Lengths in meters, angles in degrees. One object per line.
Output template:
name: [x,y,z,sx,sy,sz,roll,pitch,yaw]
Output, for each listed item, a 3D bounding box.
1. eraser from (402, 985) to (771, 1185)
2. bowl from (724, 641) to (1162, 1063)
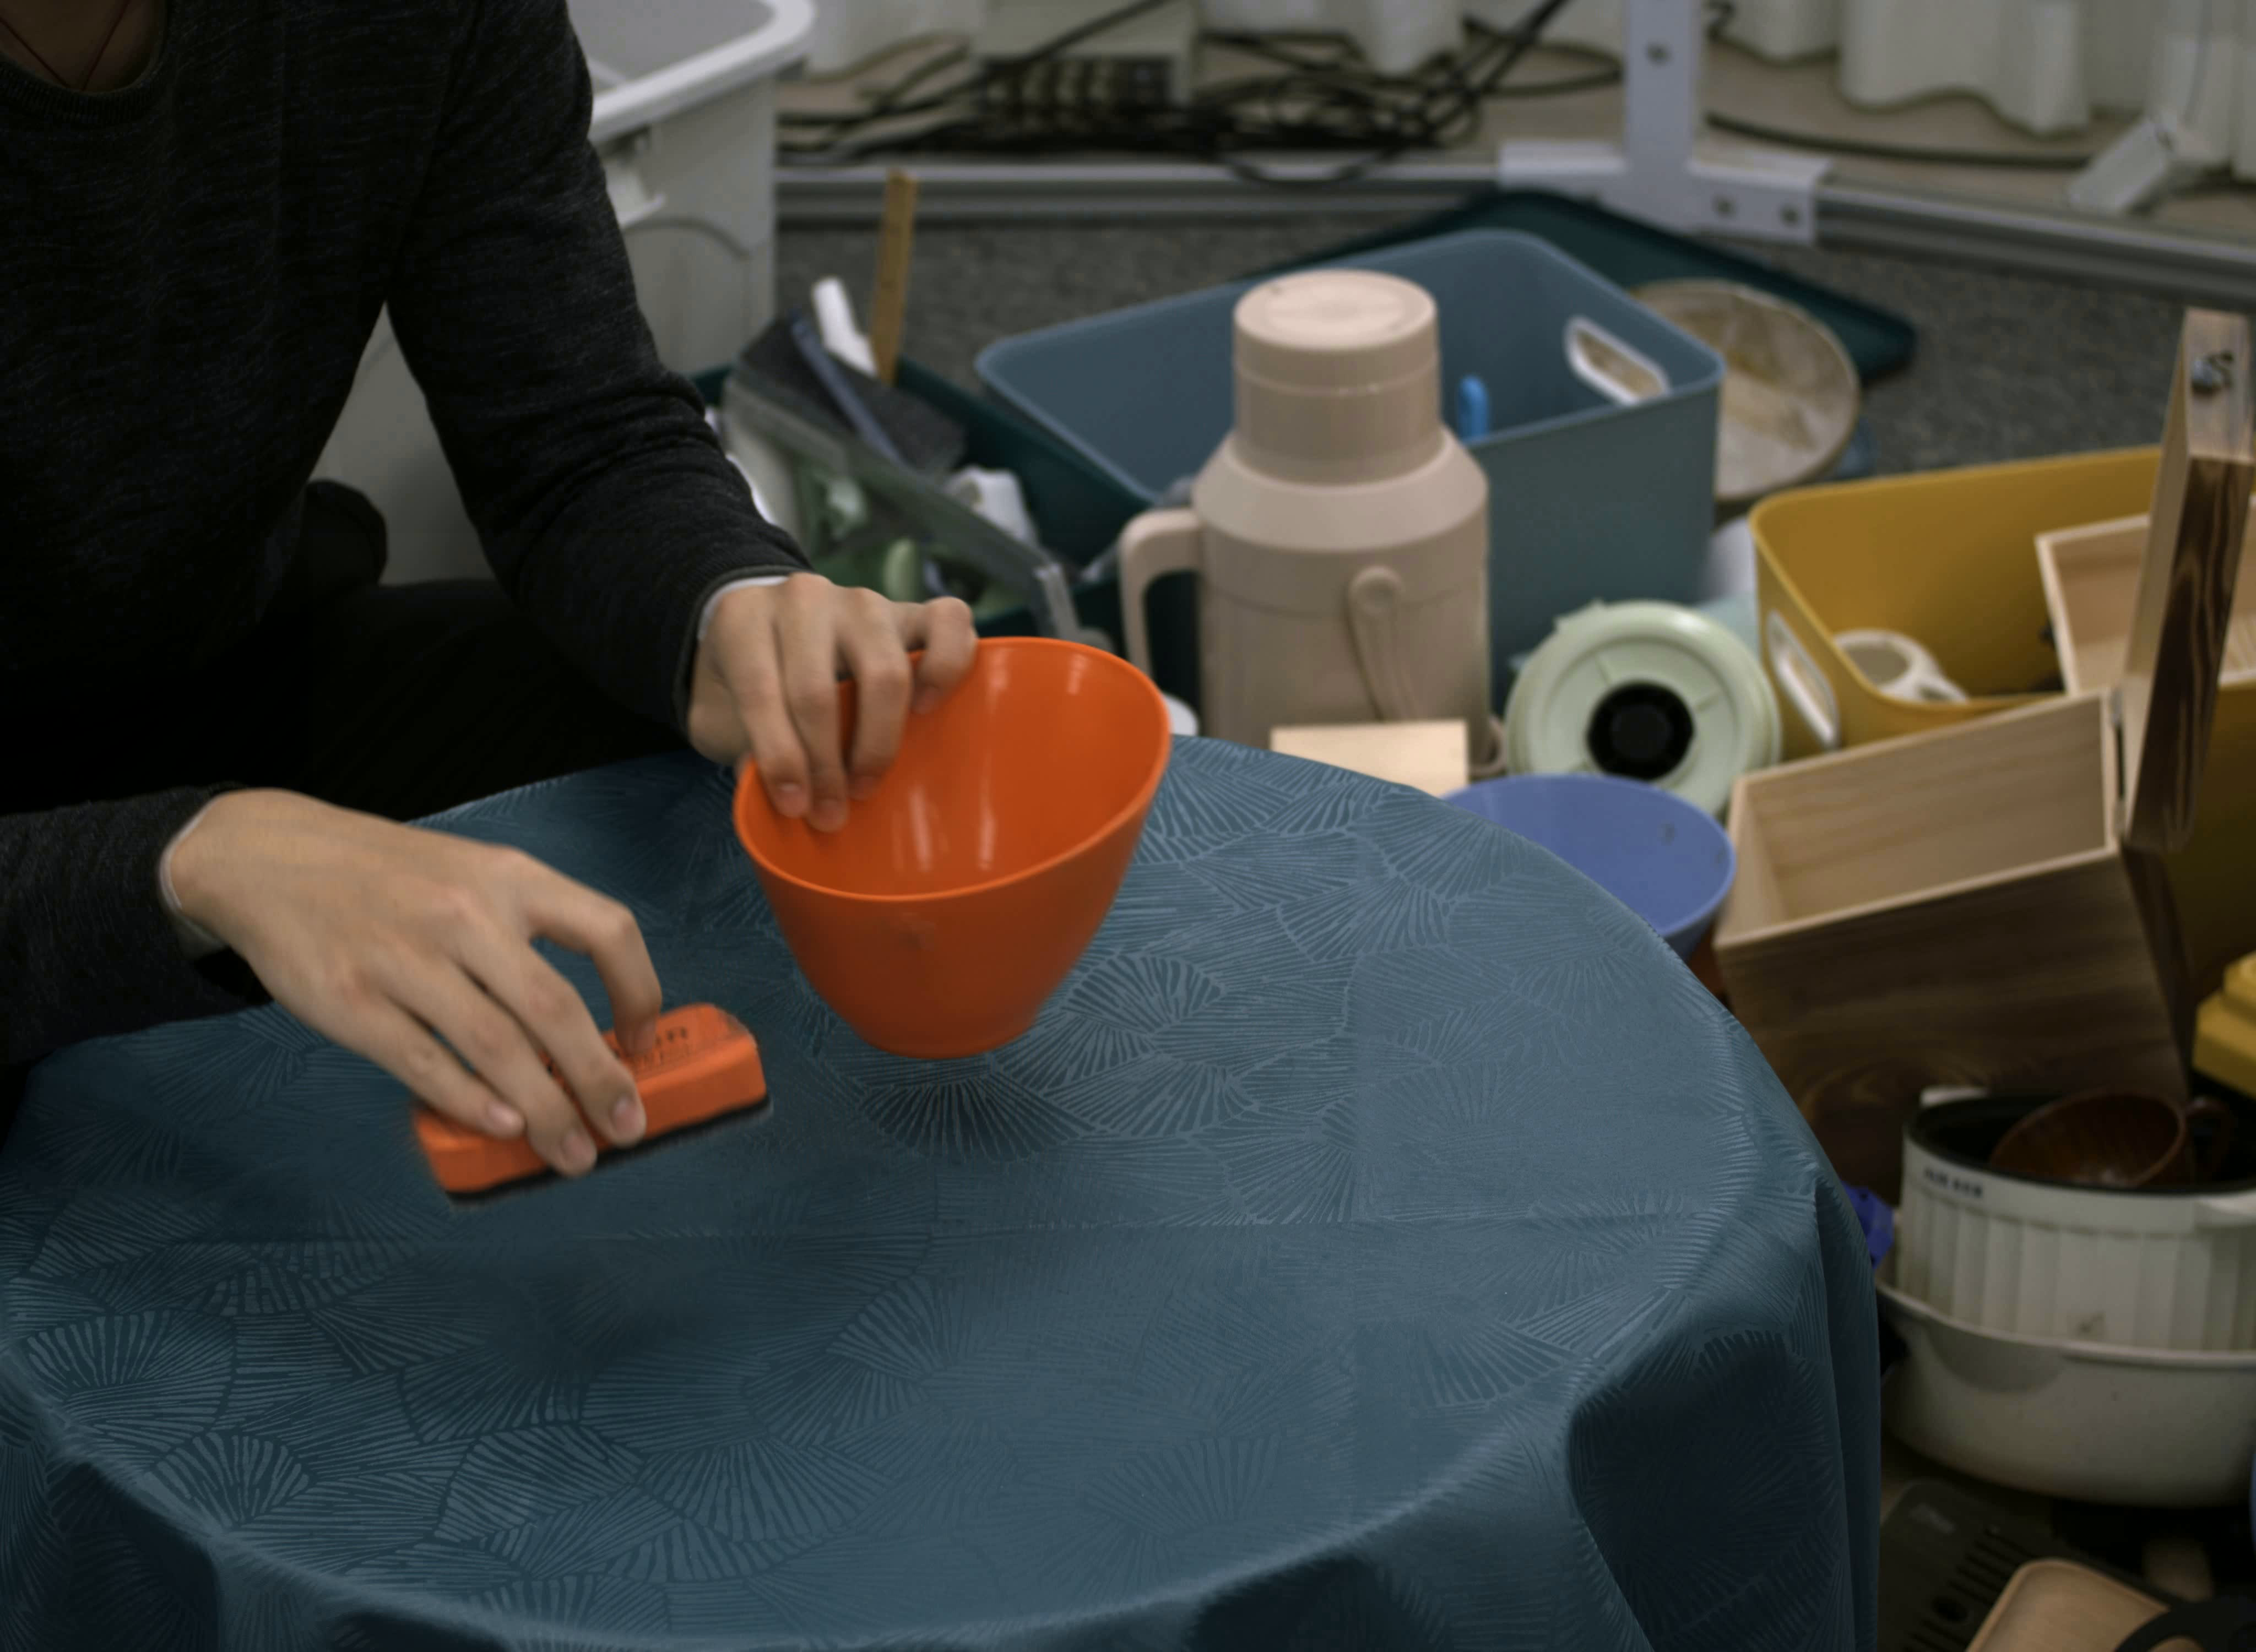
eraser: [-0.170,0.081,1.762,0.108,0.023,0.059,-16,22,-21]
bowl: [-0.059,0.015,1.888,0.147,0.103,0.150,-2,29,1]
